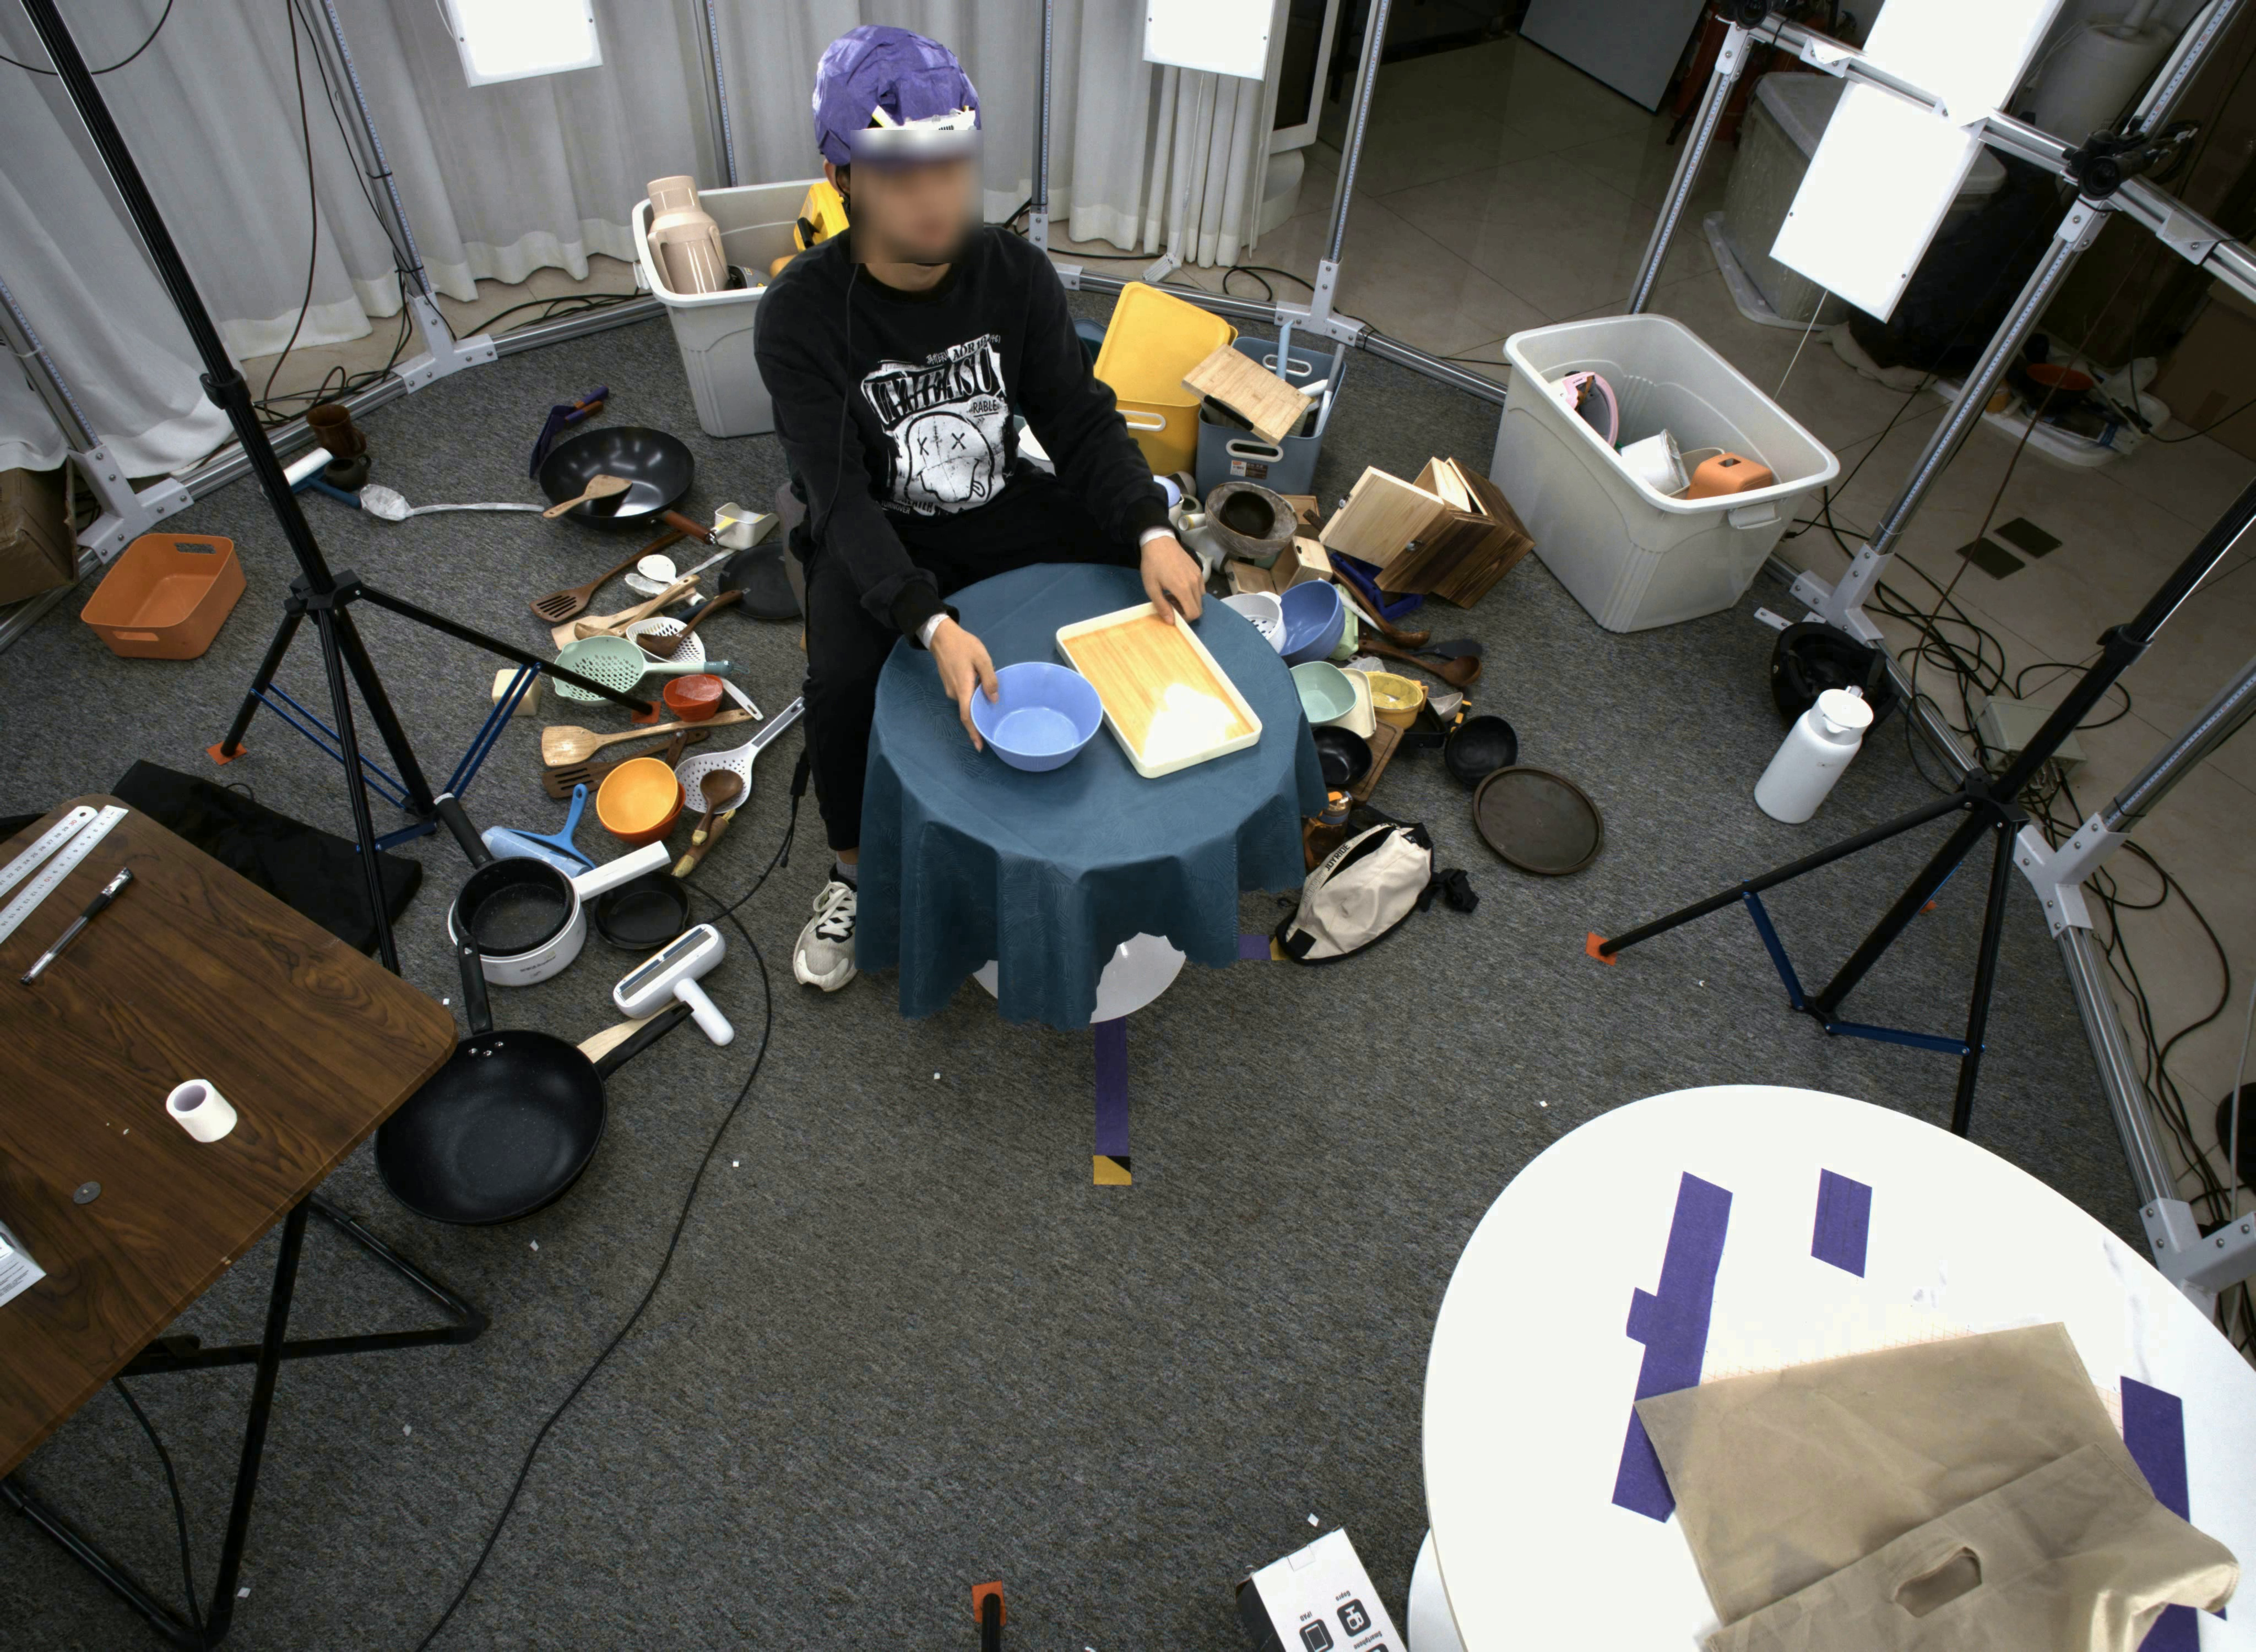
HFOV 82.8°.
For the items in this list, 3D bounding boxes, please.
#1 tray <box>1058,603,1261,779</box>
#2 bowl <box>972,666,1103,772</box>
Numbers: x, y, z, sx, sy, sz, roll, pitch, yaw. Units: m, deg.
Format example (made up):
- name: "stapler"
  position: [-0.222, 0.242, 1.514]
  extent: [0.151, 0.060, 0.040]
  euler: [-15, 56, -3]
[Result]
- name: "tray"
  position: [0.041, -0.201, 1.845]
  extent: [0.192, 0.027, 0.307]
  euler: [-18, 53, -19]
- name: "bowl"
  position: [-0.124, -0.137, 1.749]
  extent: [0.176, 0.068, 0.180]
  euler: [3, 48, -3]
